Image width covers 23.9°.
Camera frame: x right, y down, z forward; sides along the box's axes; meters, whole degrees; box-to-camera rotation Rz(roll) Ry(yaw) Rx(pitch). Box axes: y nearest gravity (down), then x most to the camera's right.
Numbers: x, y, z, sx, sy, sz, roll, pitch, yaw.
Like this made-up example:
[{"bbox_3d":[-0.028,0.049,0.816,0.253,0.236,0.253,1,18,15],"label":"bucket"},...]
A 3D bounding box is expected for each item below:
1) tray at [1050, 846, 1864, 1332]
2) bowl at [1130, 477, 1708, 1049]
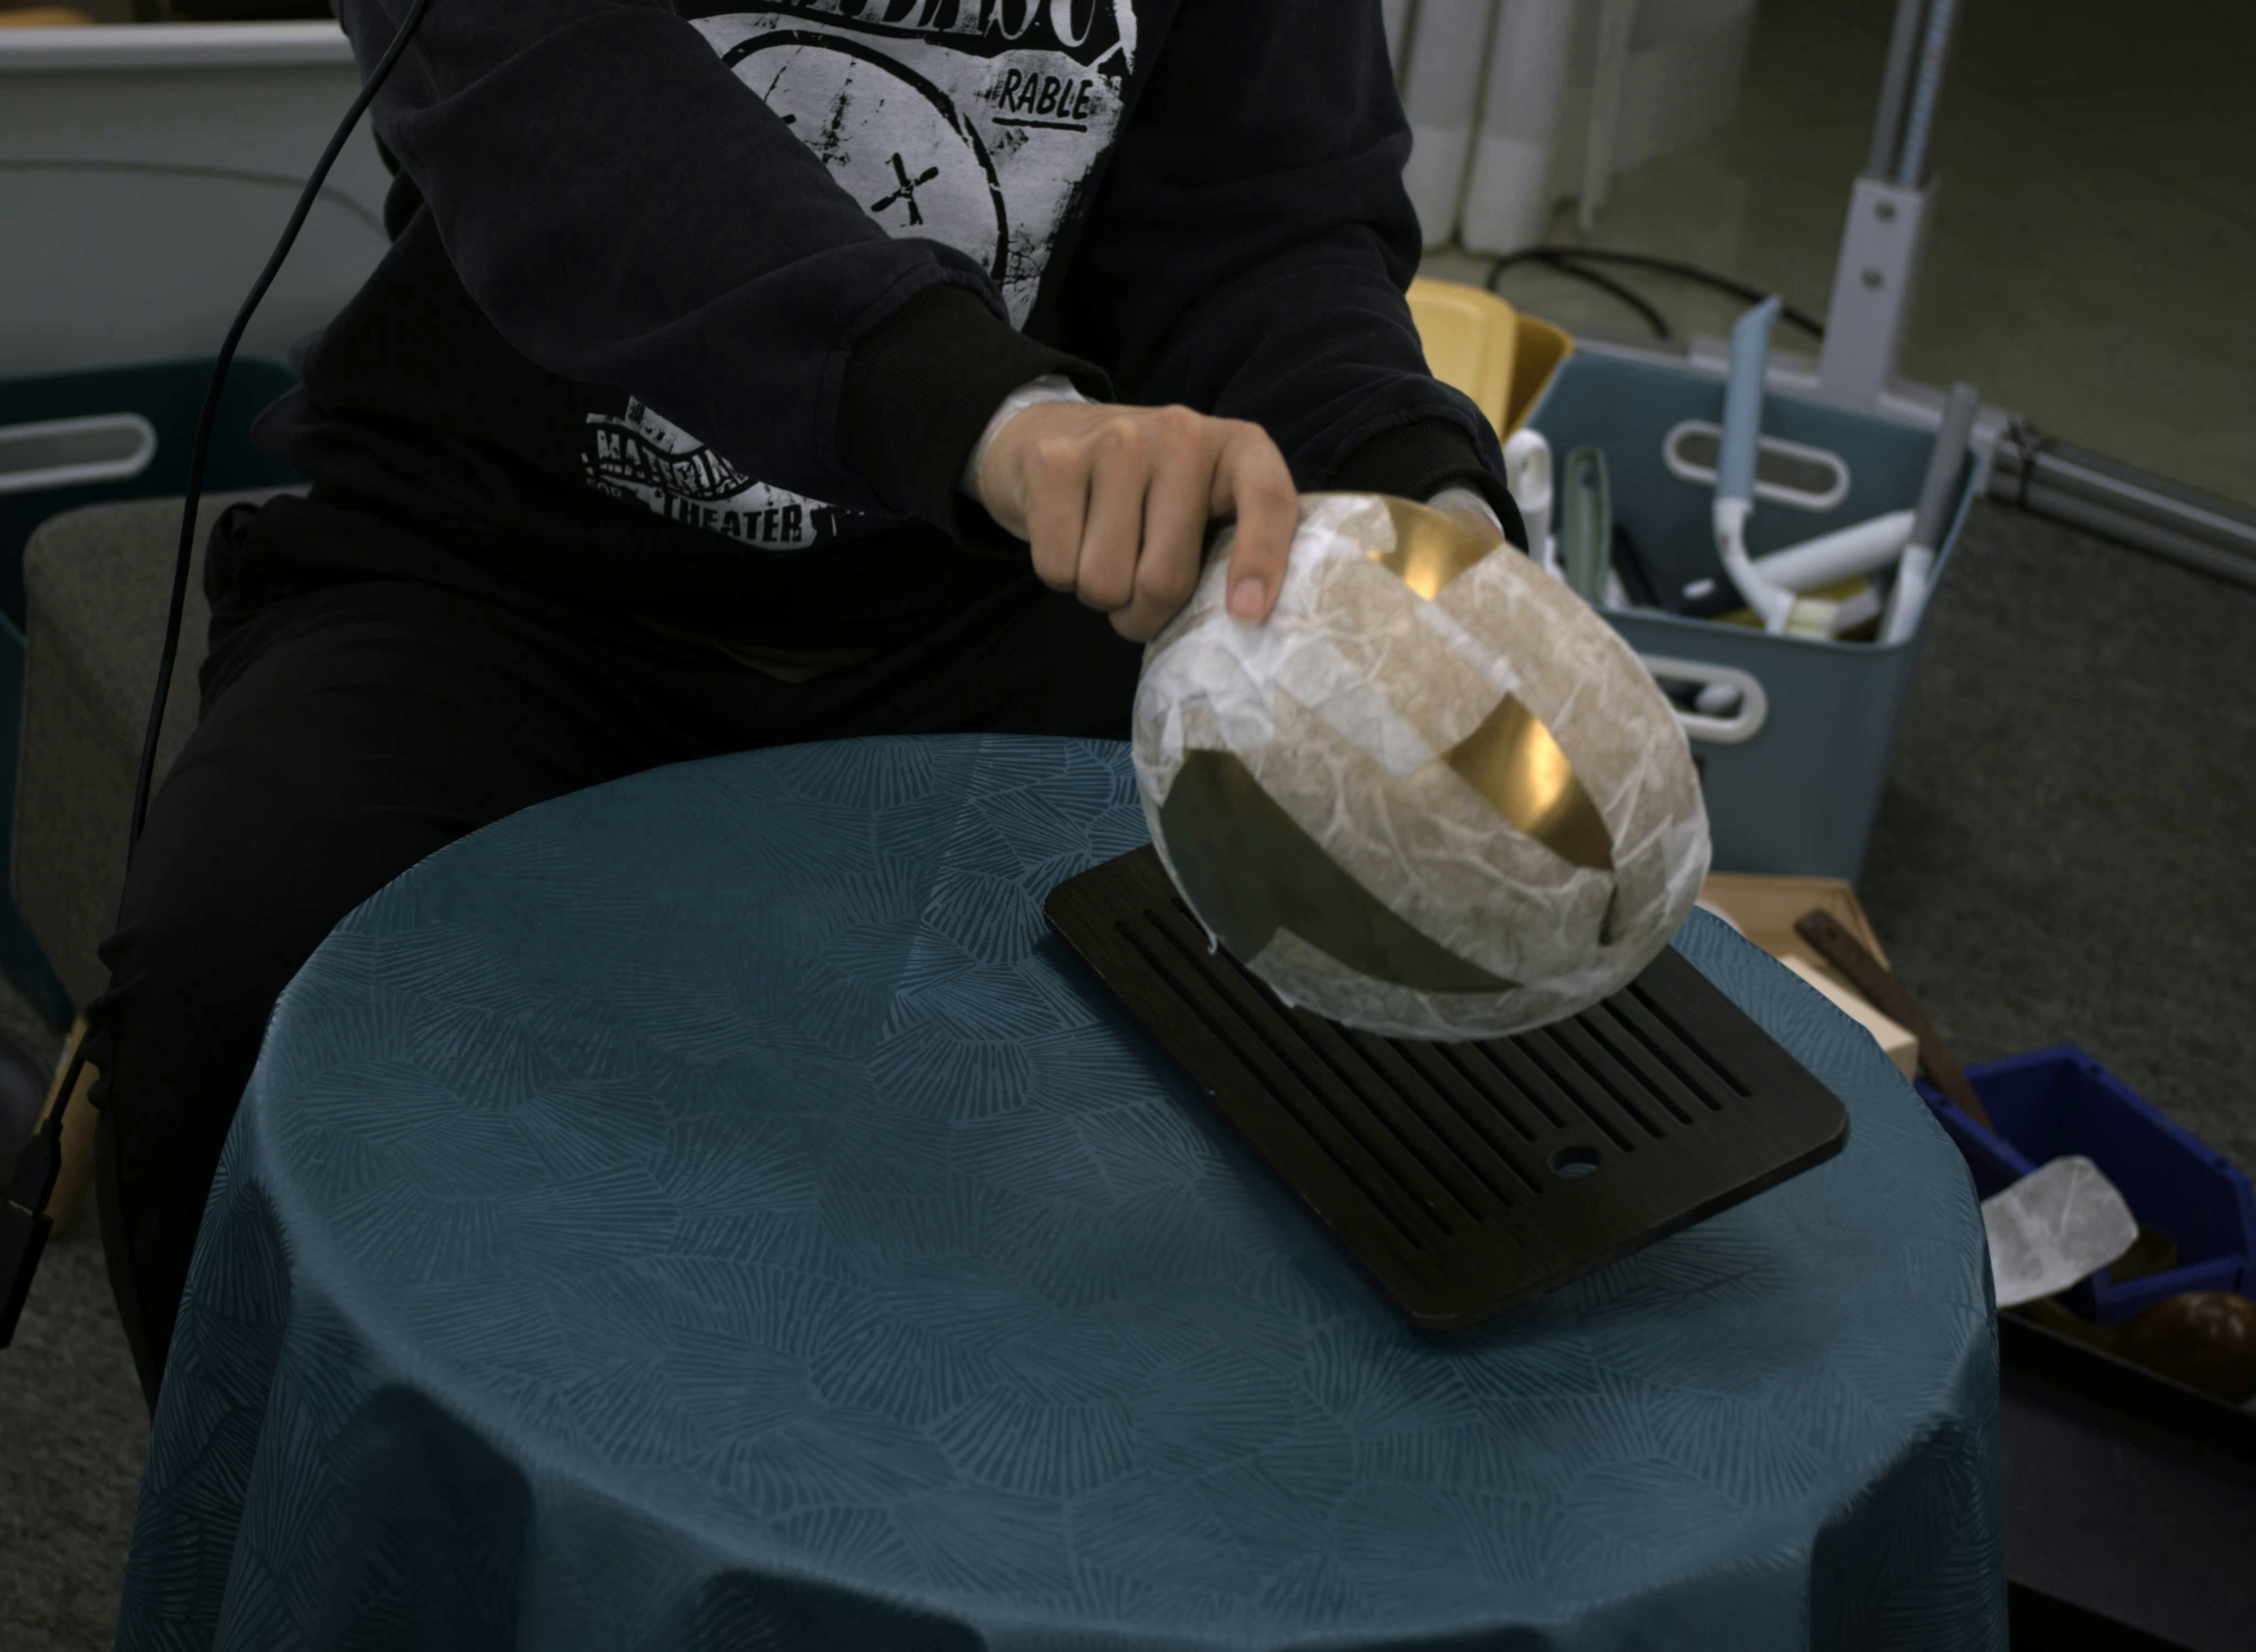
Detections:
[{"bbox_3d":[0.109,0.069,1.862,0.169,0.018,0.309,-23,35,-16],"label":"tray"},{"bbox_3d":[0.075,0.000,1.720,0.216,0.213,0.094,22,50,26],"label":"bowl"}]
